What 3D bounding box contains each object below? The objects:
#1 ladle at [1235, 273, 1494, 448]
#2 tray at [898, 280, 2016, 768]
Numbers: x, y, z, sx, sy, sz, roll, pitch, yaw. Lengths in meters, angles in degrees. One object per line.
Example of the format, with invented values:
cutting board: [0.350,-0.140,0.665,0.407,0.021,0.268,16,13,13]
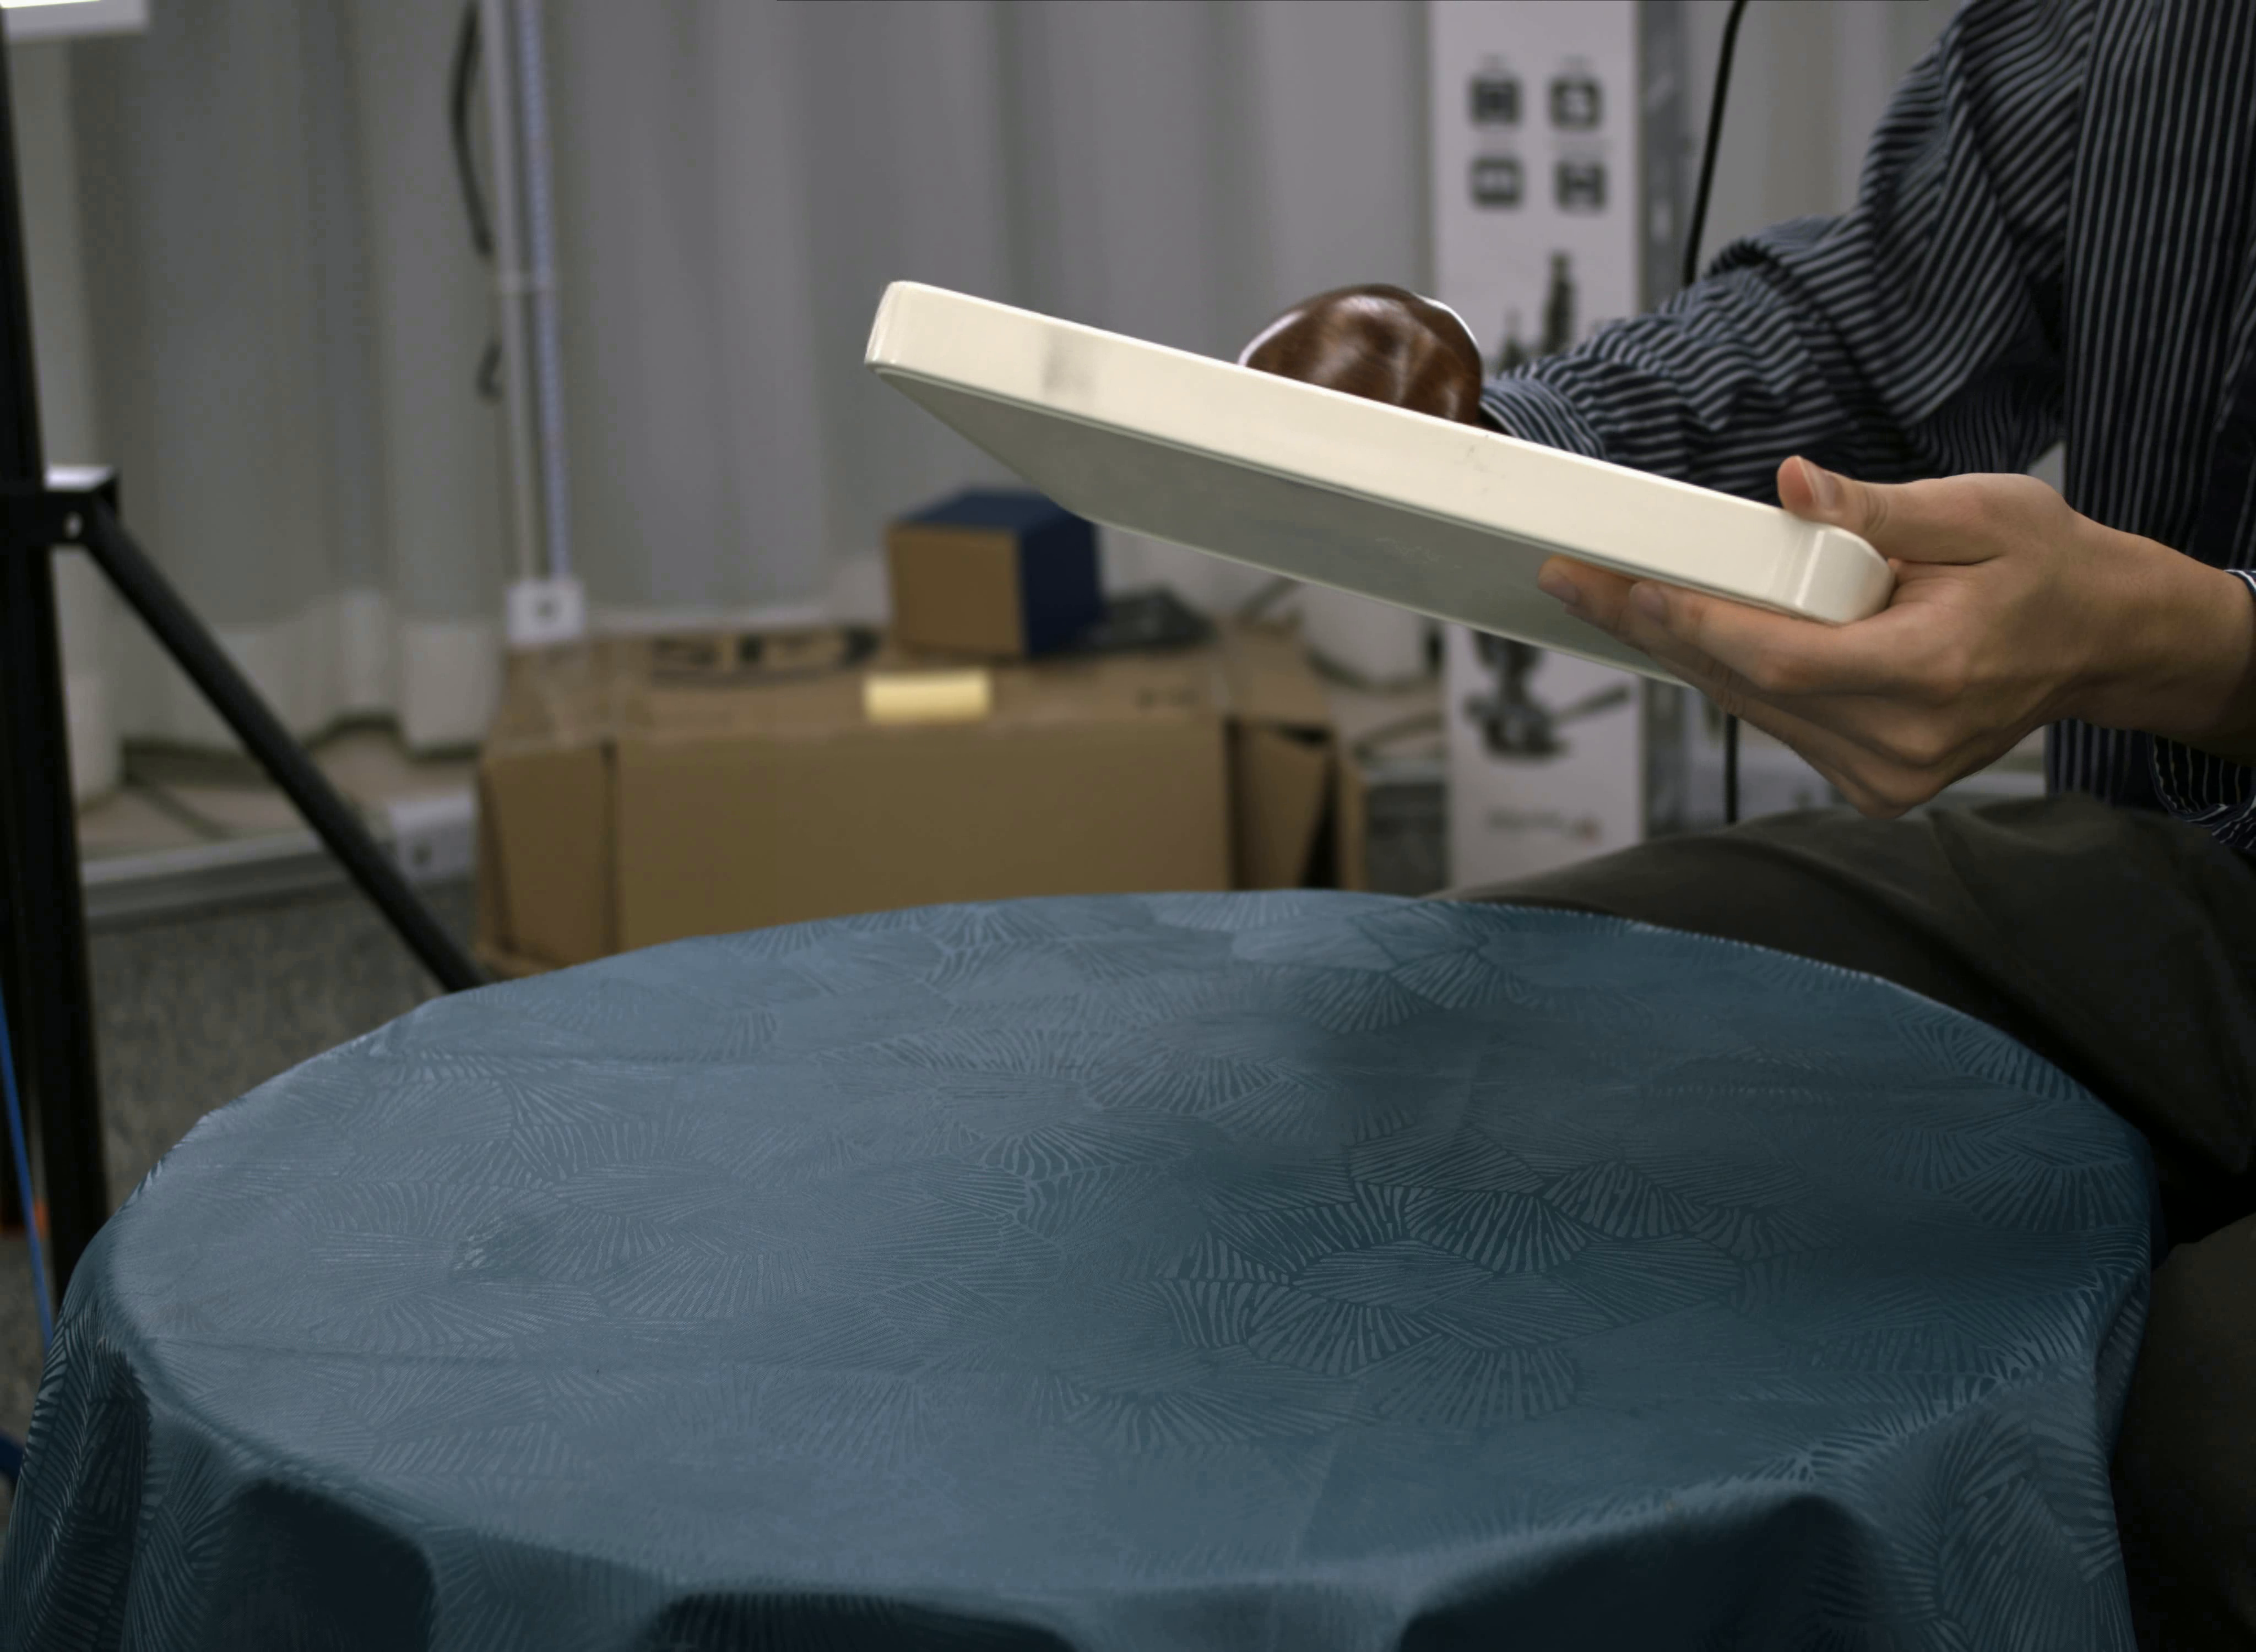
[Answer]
ladle: [0.065,-0.117,1.675,0.081,0.077,0.273,-39,-5,-5]
tray: [0.095,-0.084,1.521,0.305,0.027,0.188,17,-6,25]
